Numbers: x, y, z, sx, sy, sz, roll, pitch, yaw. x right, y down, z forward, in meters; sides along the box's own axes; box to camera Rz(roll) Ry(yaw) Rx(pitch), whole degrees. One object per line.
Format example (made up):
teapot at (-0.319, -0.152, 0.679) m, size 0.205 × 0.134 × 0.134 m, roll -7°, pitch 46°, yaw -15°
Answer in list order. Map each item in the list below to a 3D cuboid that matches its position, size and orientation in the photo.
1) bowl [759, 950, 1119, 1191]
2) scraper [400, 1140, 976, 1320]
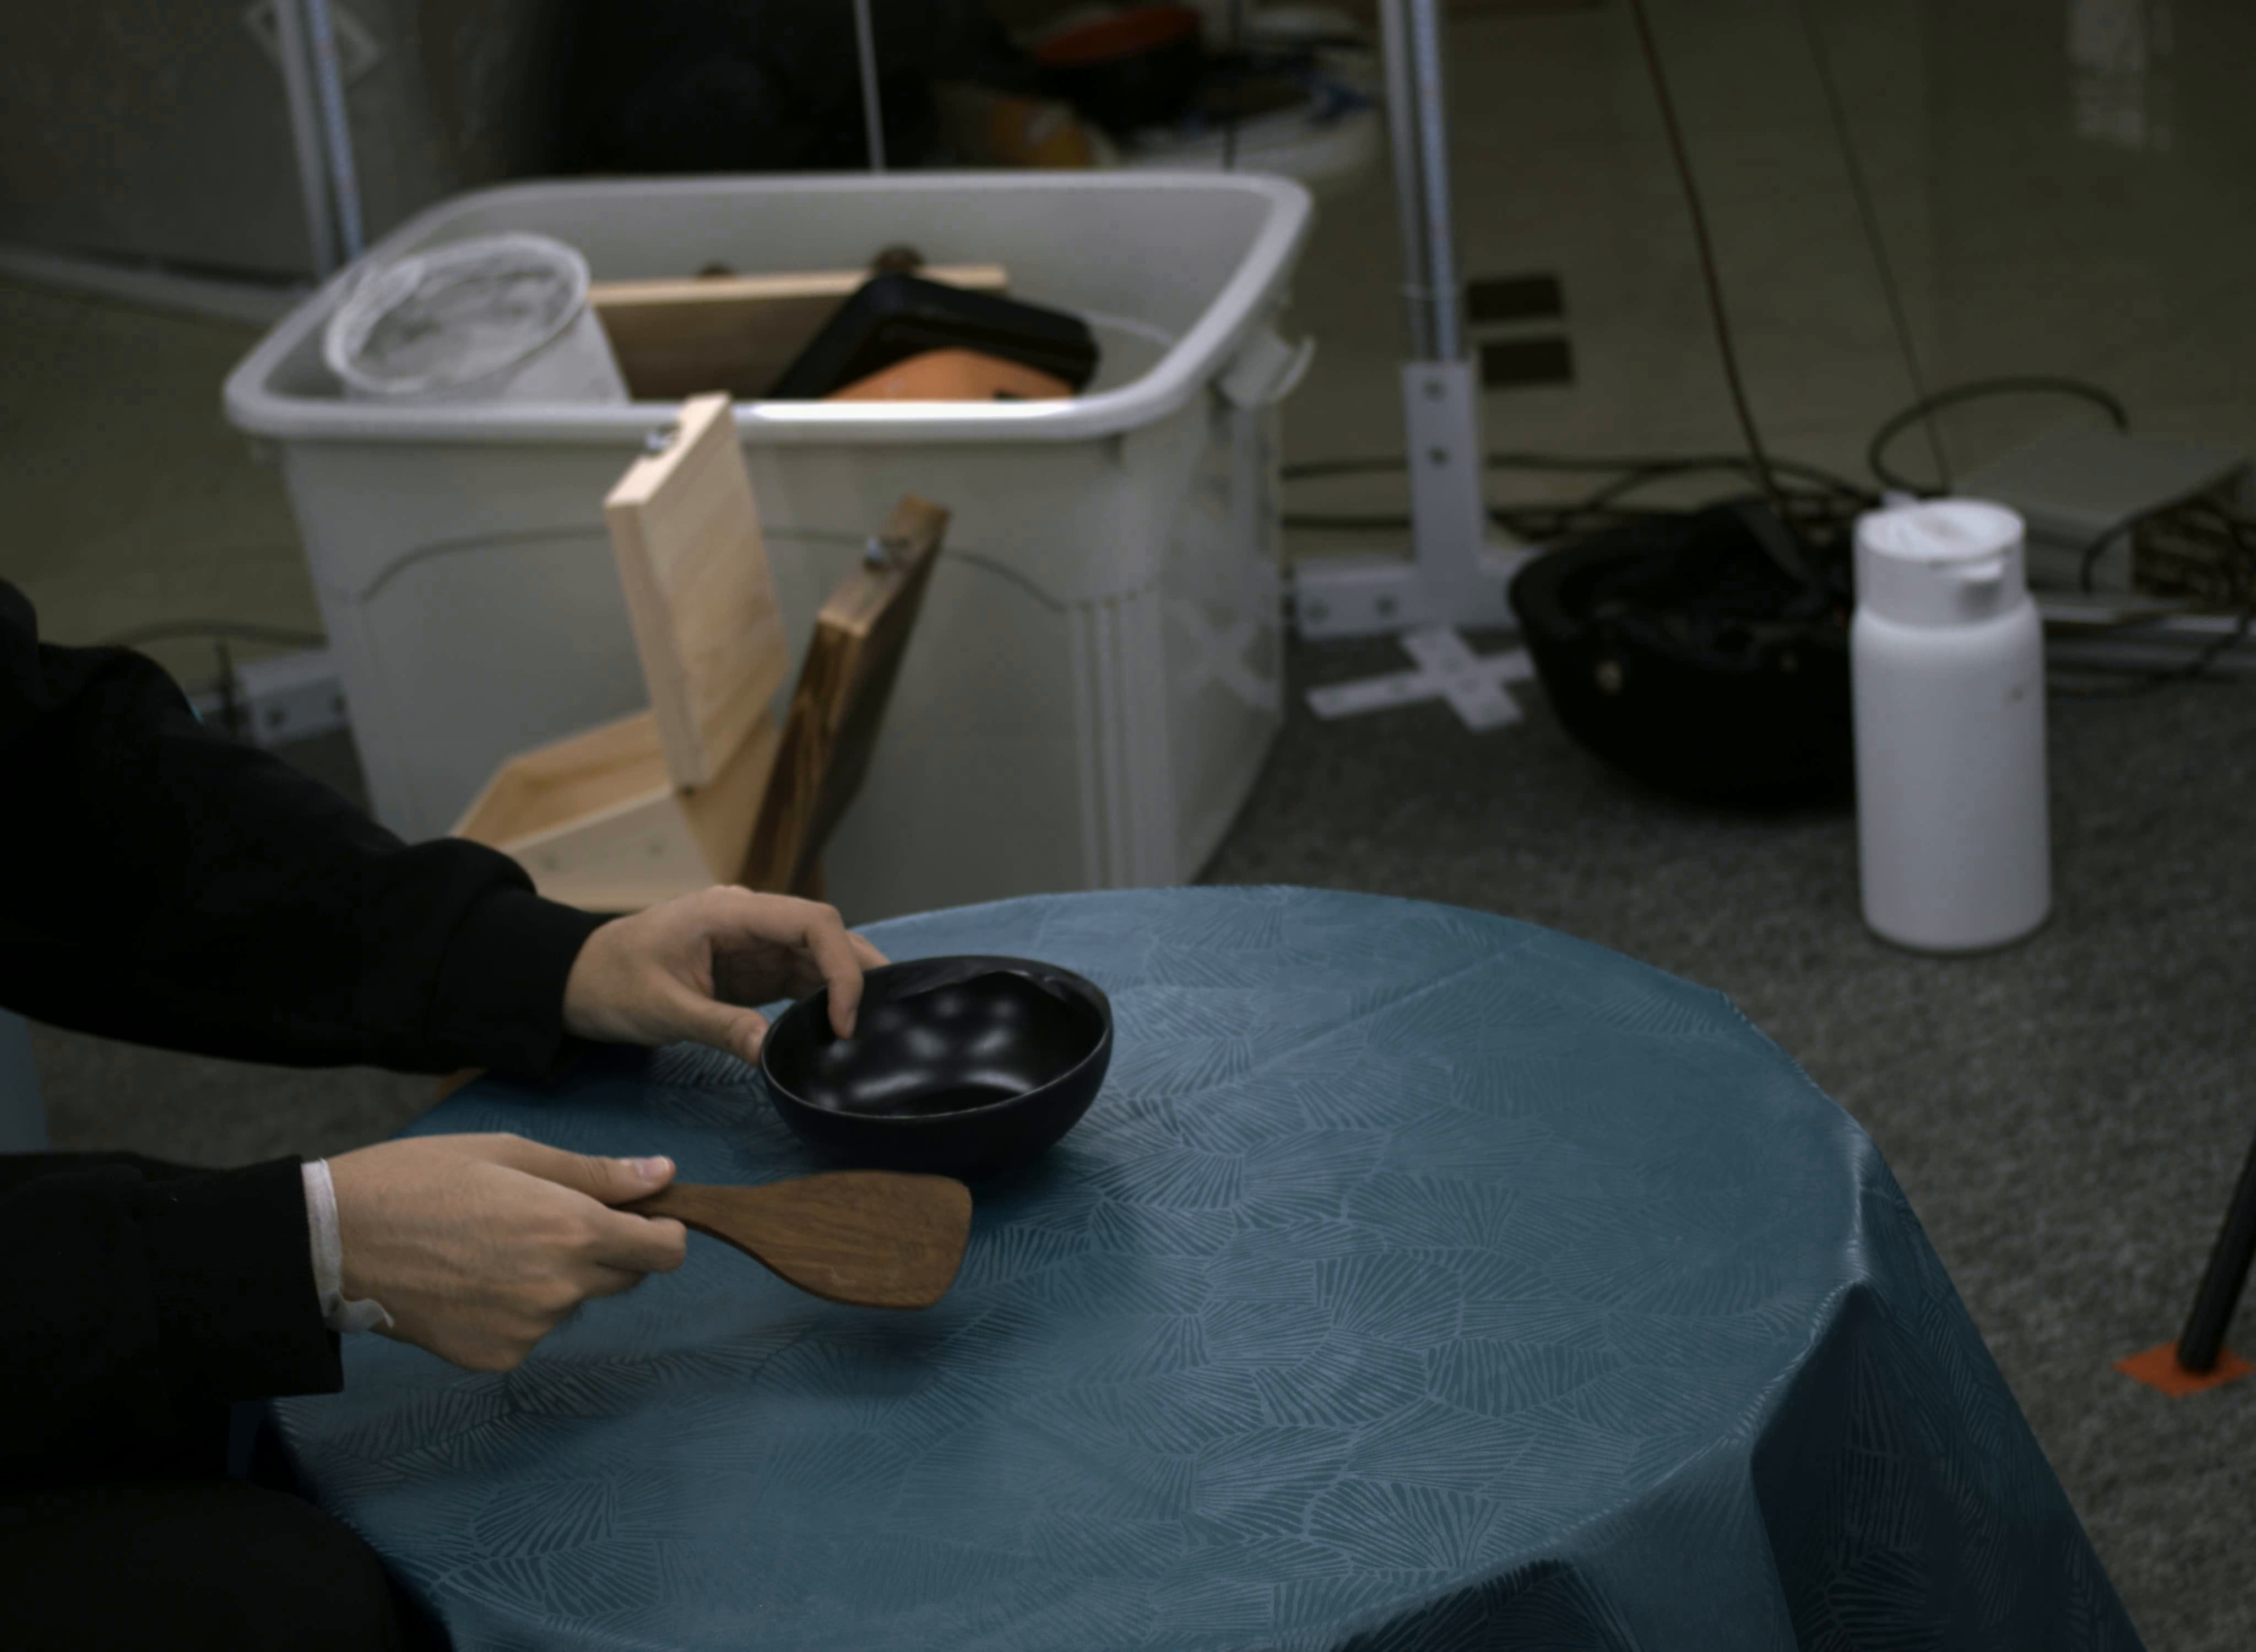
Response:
bowl at (-0.071, 0.102, 2.193) m, size 0.140 × 0.050 × 0.138 m, roll -6°, pitch 28°, yaw 3°
scraper at (-0.161, 0.140, 2.063) m, size 0.211 × 0.011 × 0.074 m, roll 10°, pitch 37°, yaw 4°
